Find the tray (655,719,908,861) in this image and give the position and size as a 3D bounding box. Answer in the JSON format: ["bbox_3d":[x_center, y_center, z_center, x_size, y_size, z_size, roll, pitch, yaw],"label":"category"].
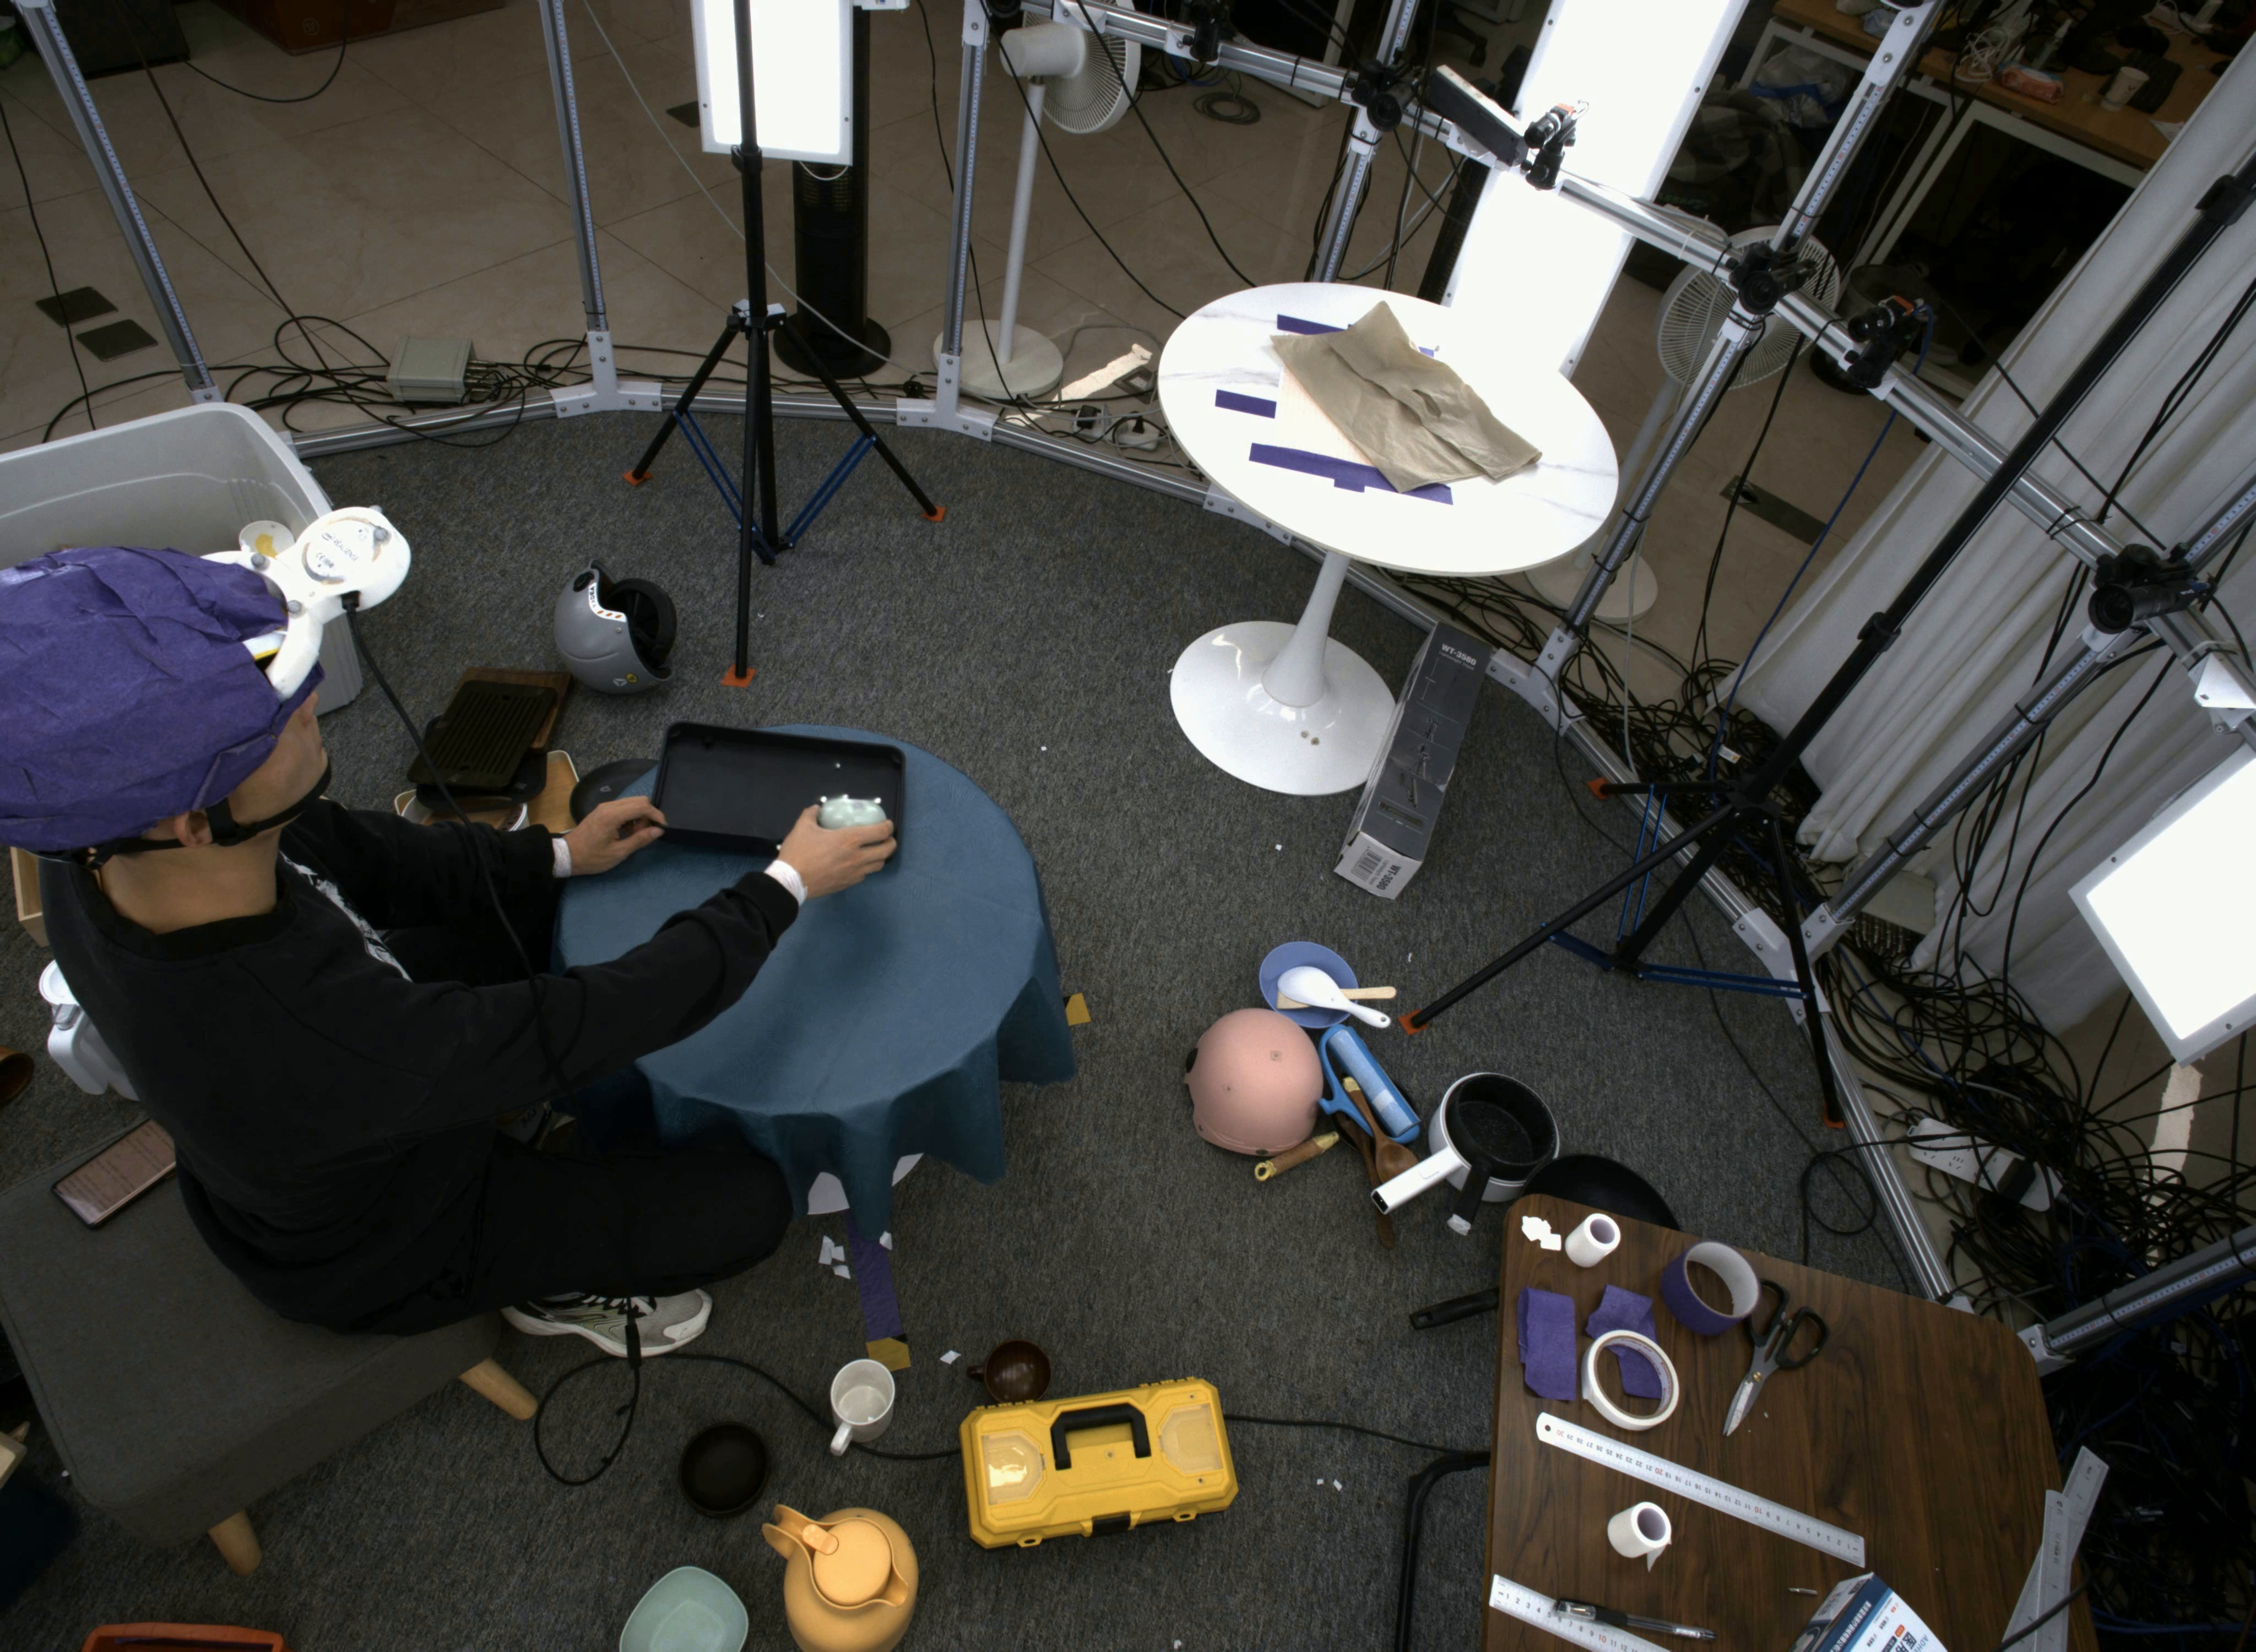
[{"bbox_3d":[-0.451,-0.048,1.707,0.320,0.037,0.180,6,50,-18],"label":"tray"}]

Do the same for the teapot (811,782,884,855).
[{"bbox_3d":[-0.342,-0.006,1.585,0.089,0.142,0.075,4,79,-21],"label":"teapot"}]
